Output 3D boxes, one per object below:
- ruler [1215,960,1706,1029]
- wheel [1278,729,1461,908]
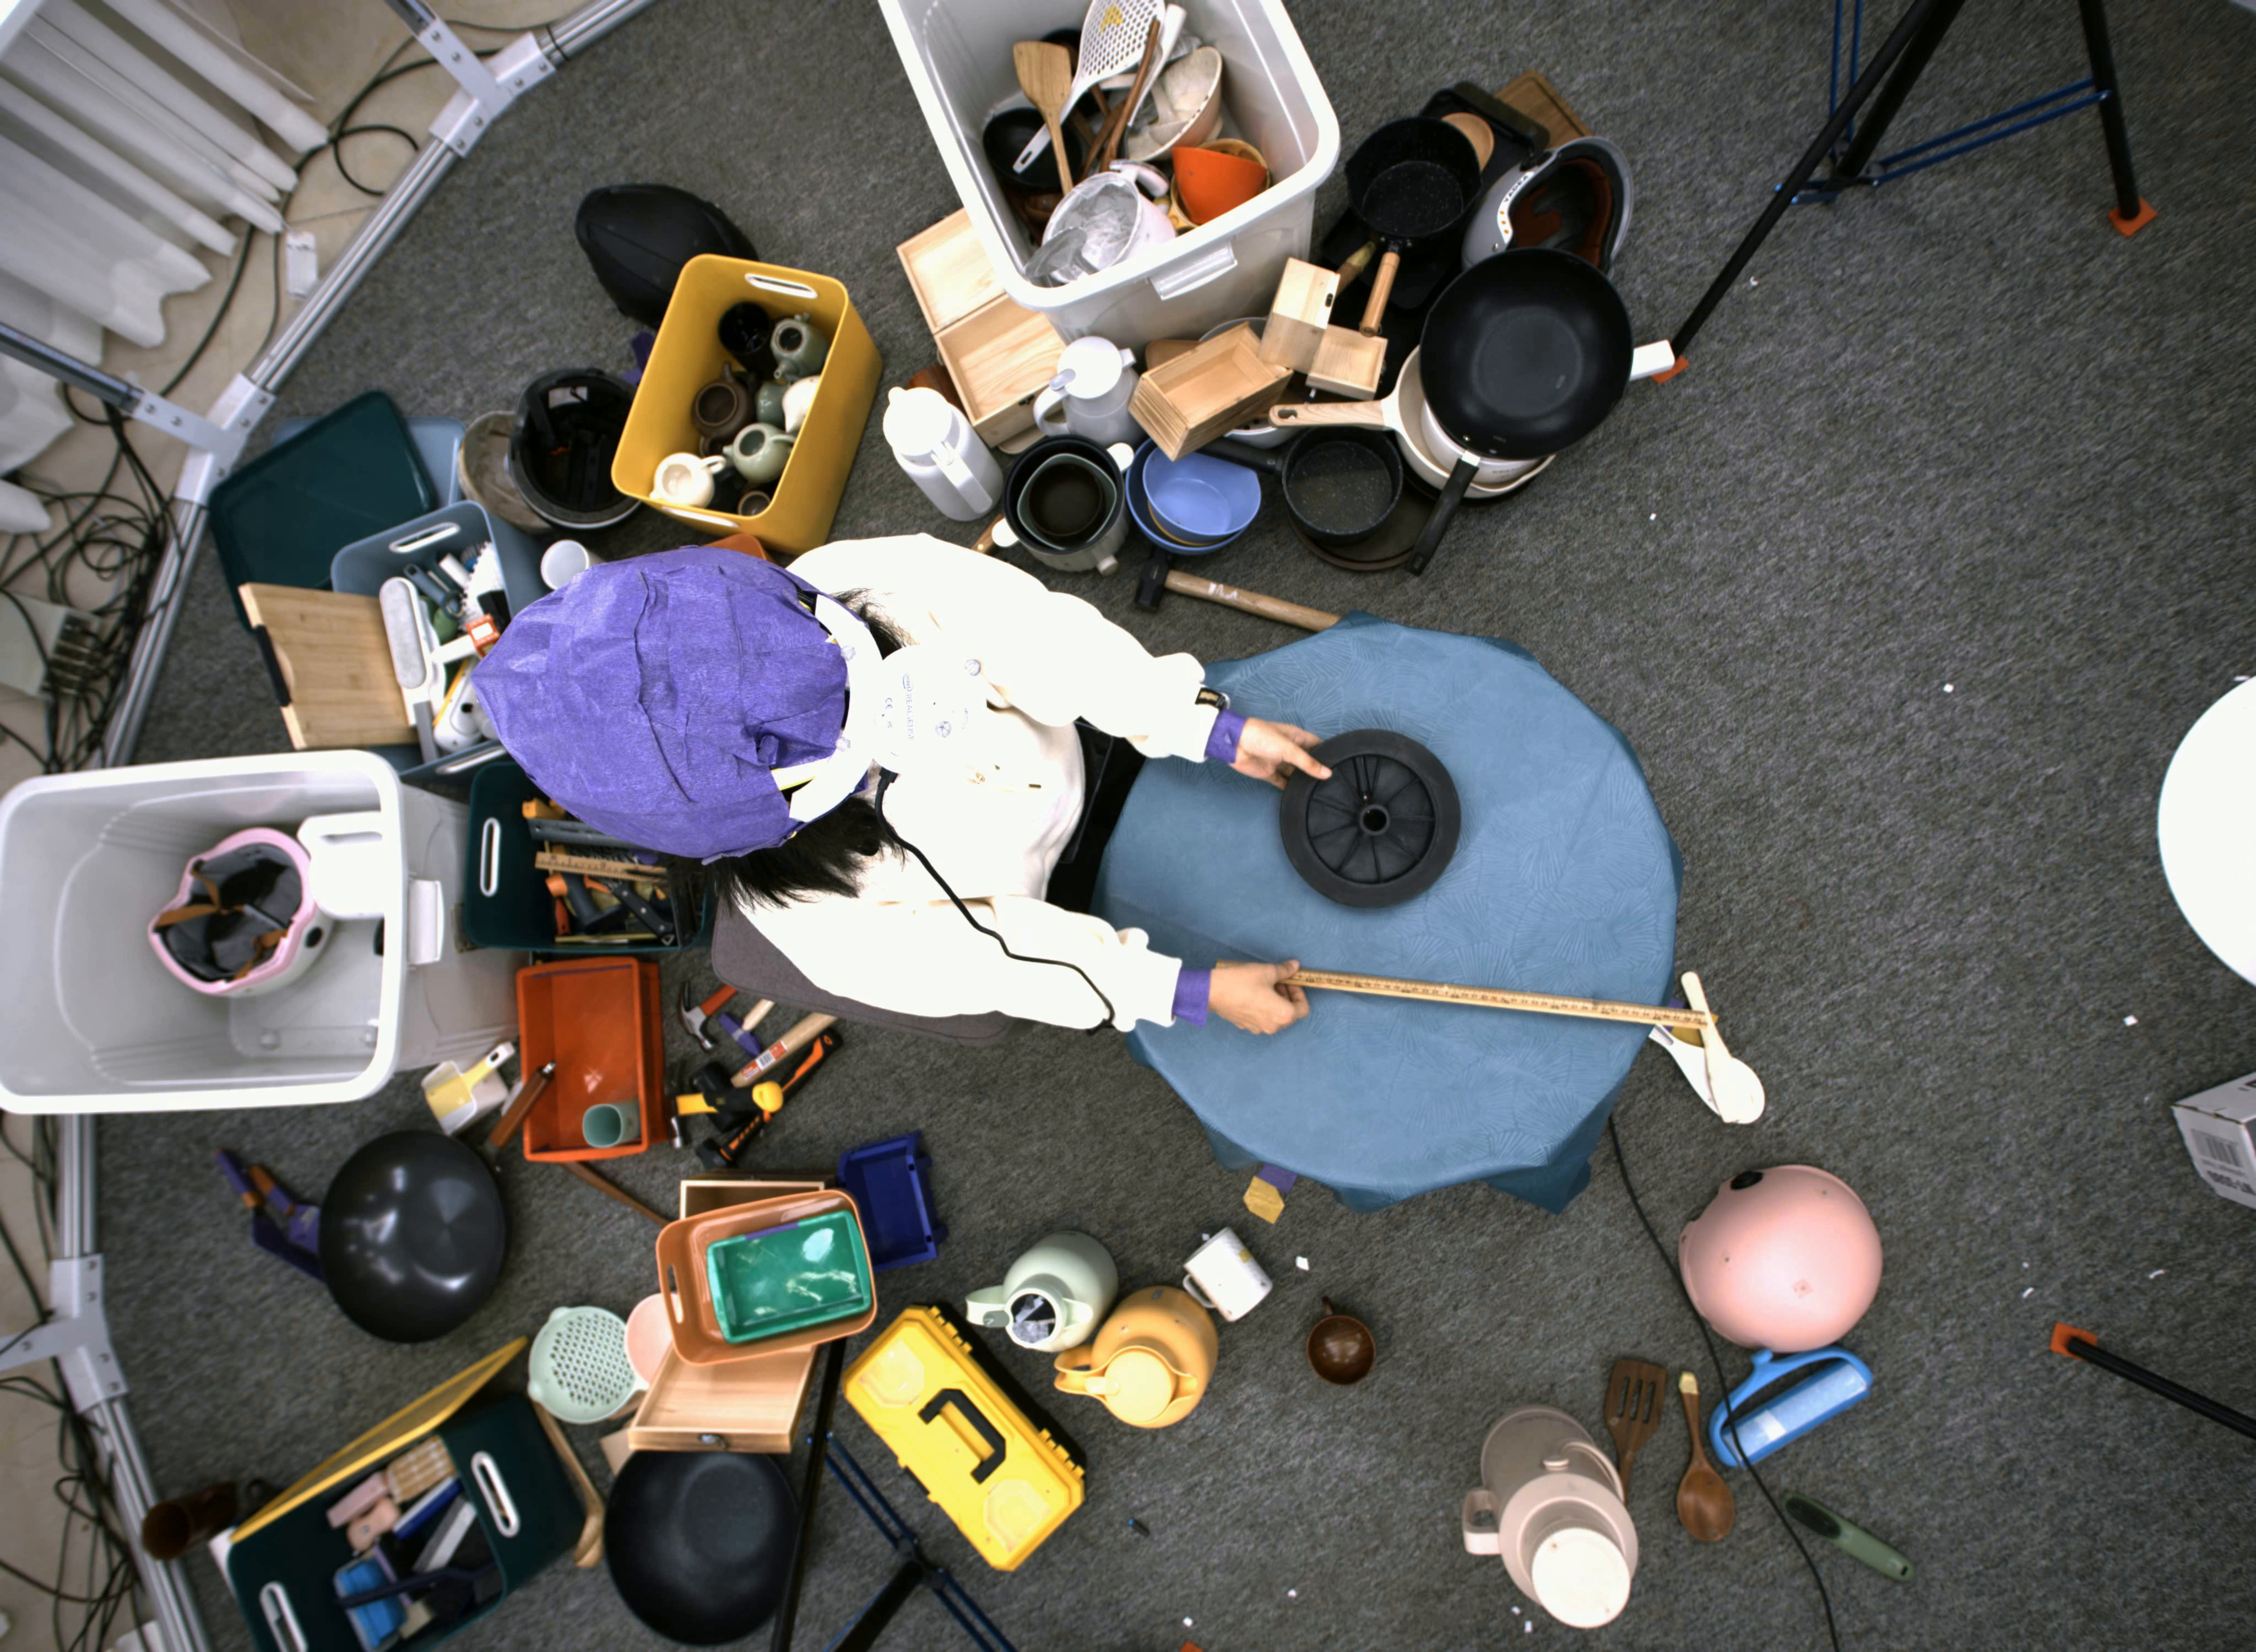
[{"bbox_3d":[0.338,0.172,1.430,0.502,0.026,0.006,5,122,11],"label":"ruler"},{"bbox_3d":[0.251,-0.009,1.423,0.188,0.079,0.190,-33,90,6],"label":"wheel"}]
